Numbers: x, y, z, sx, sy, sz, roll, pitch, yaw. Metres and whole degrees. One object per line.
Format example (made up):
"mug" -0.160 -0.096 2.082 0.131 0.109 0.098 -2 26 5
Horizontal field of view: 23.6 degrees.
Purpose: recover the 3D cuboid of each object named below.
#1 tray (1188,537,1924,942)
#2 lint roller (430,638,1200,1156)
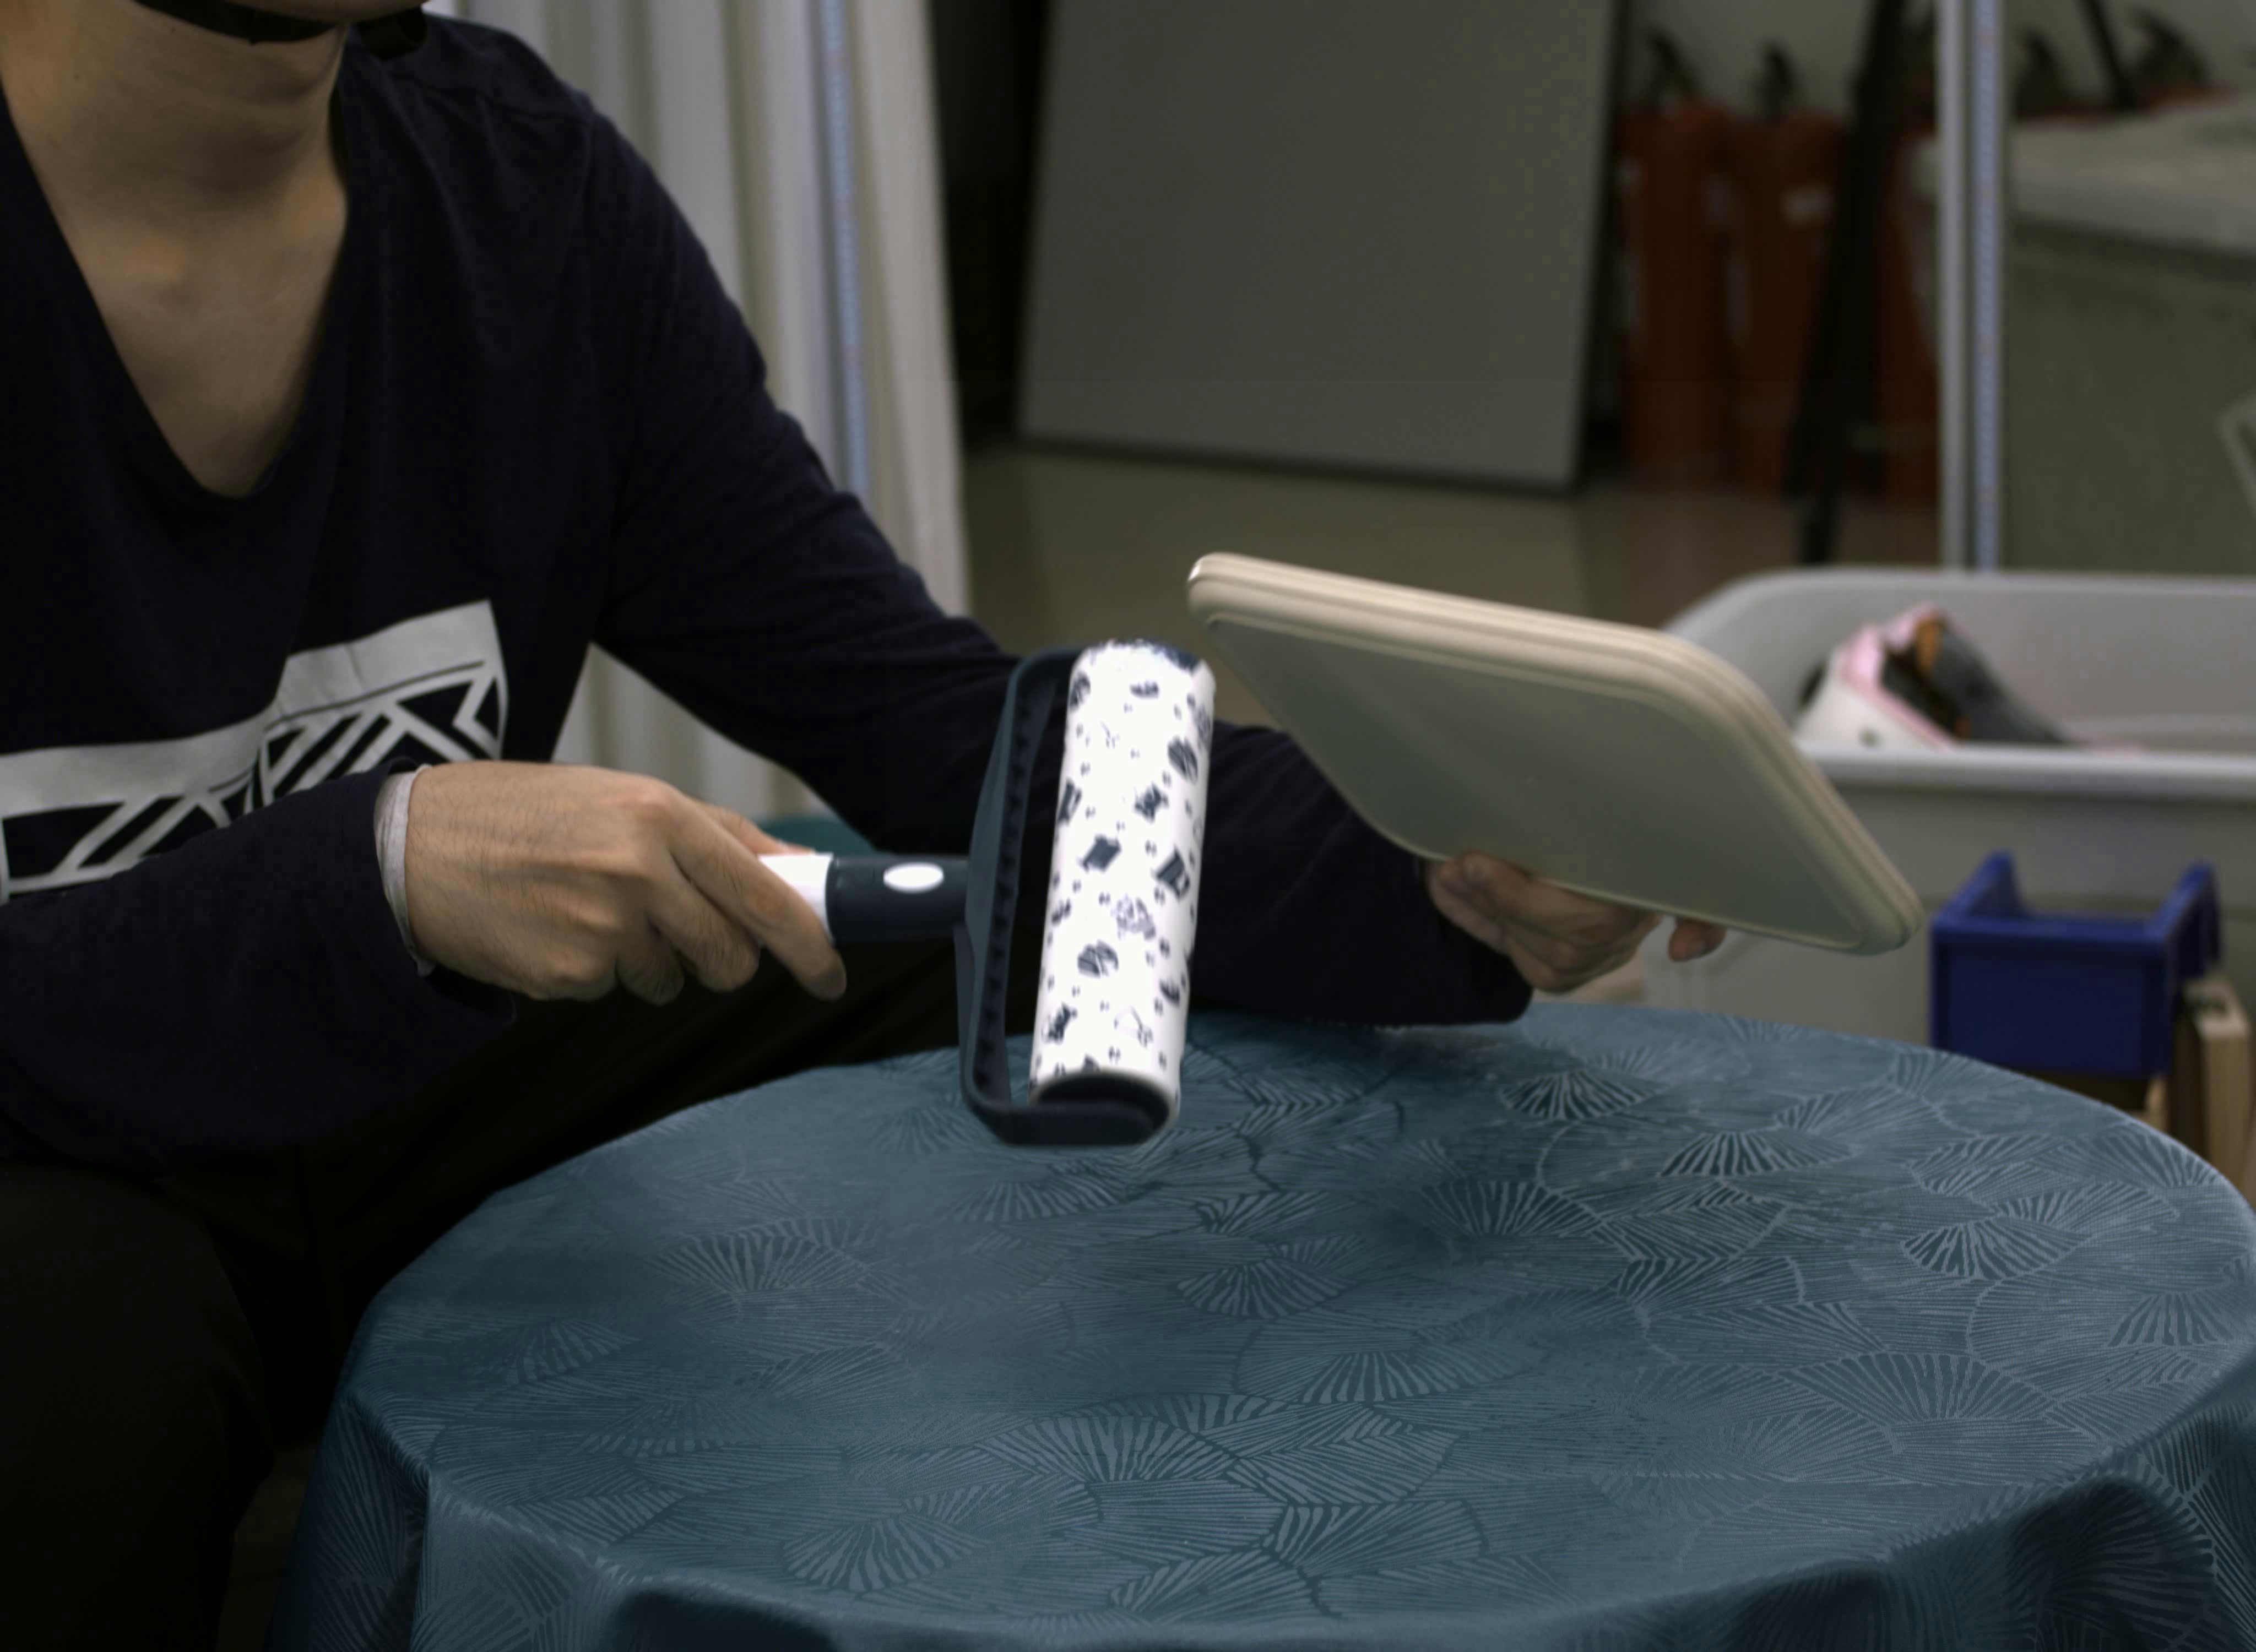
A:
"tray" 0.133 -0.025 1.735 0.242 0.169 0.017 12 62 45
"lint roller" -0.102 0.025 1.688 0.245 0.050 0.178 -3 55 11
